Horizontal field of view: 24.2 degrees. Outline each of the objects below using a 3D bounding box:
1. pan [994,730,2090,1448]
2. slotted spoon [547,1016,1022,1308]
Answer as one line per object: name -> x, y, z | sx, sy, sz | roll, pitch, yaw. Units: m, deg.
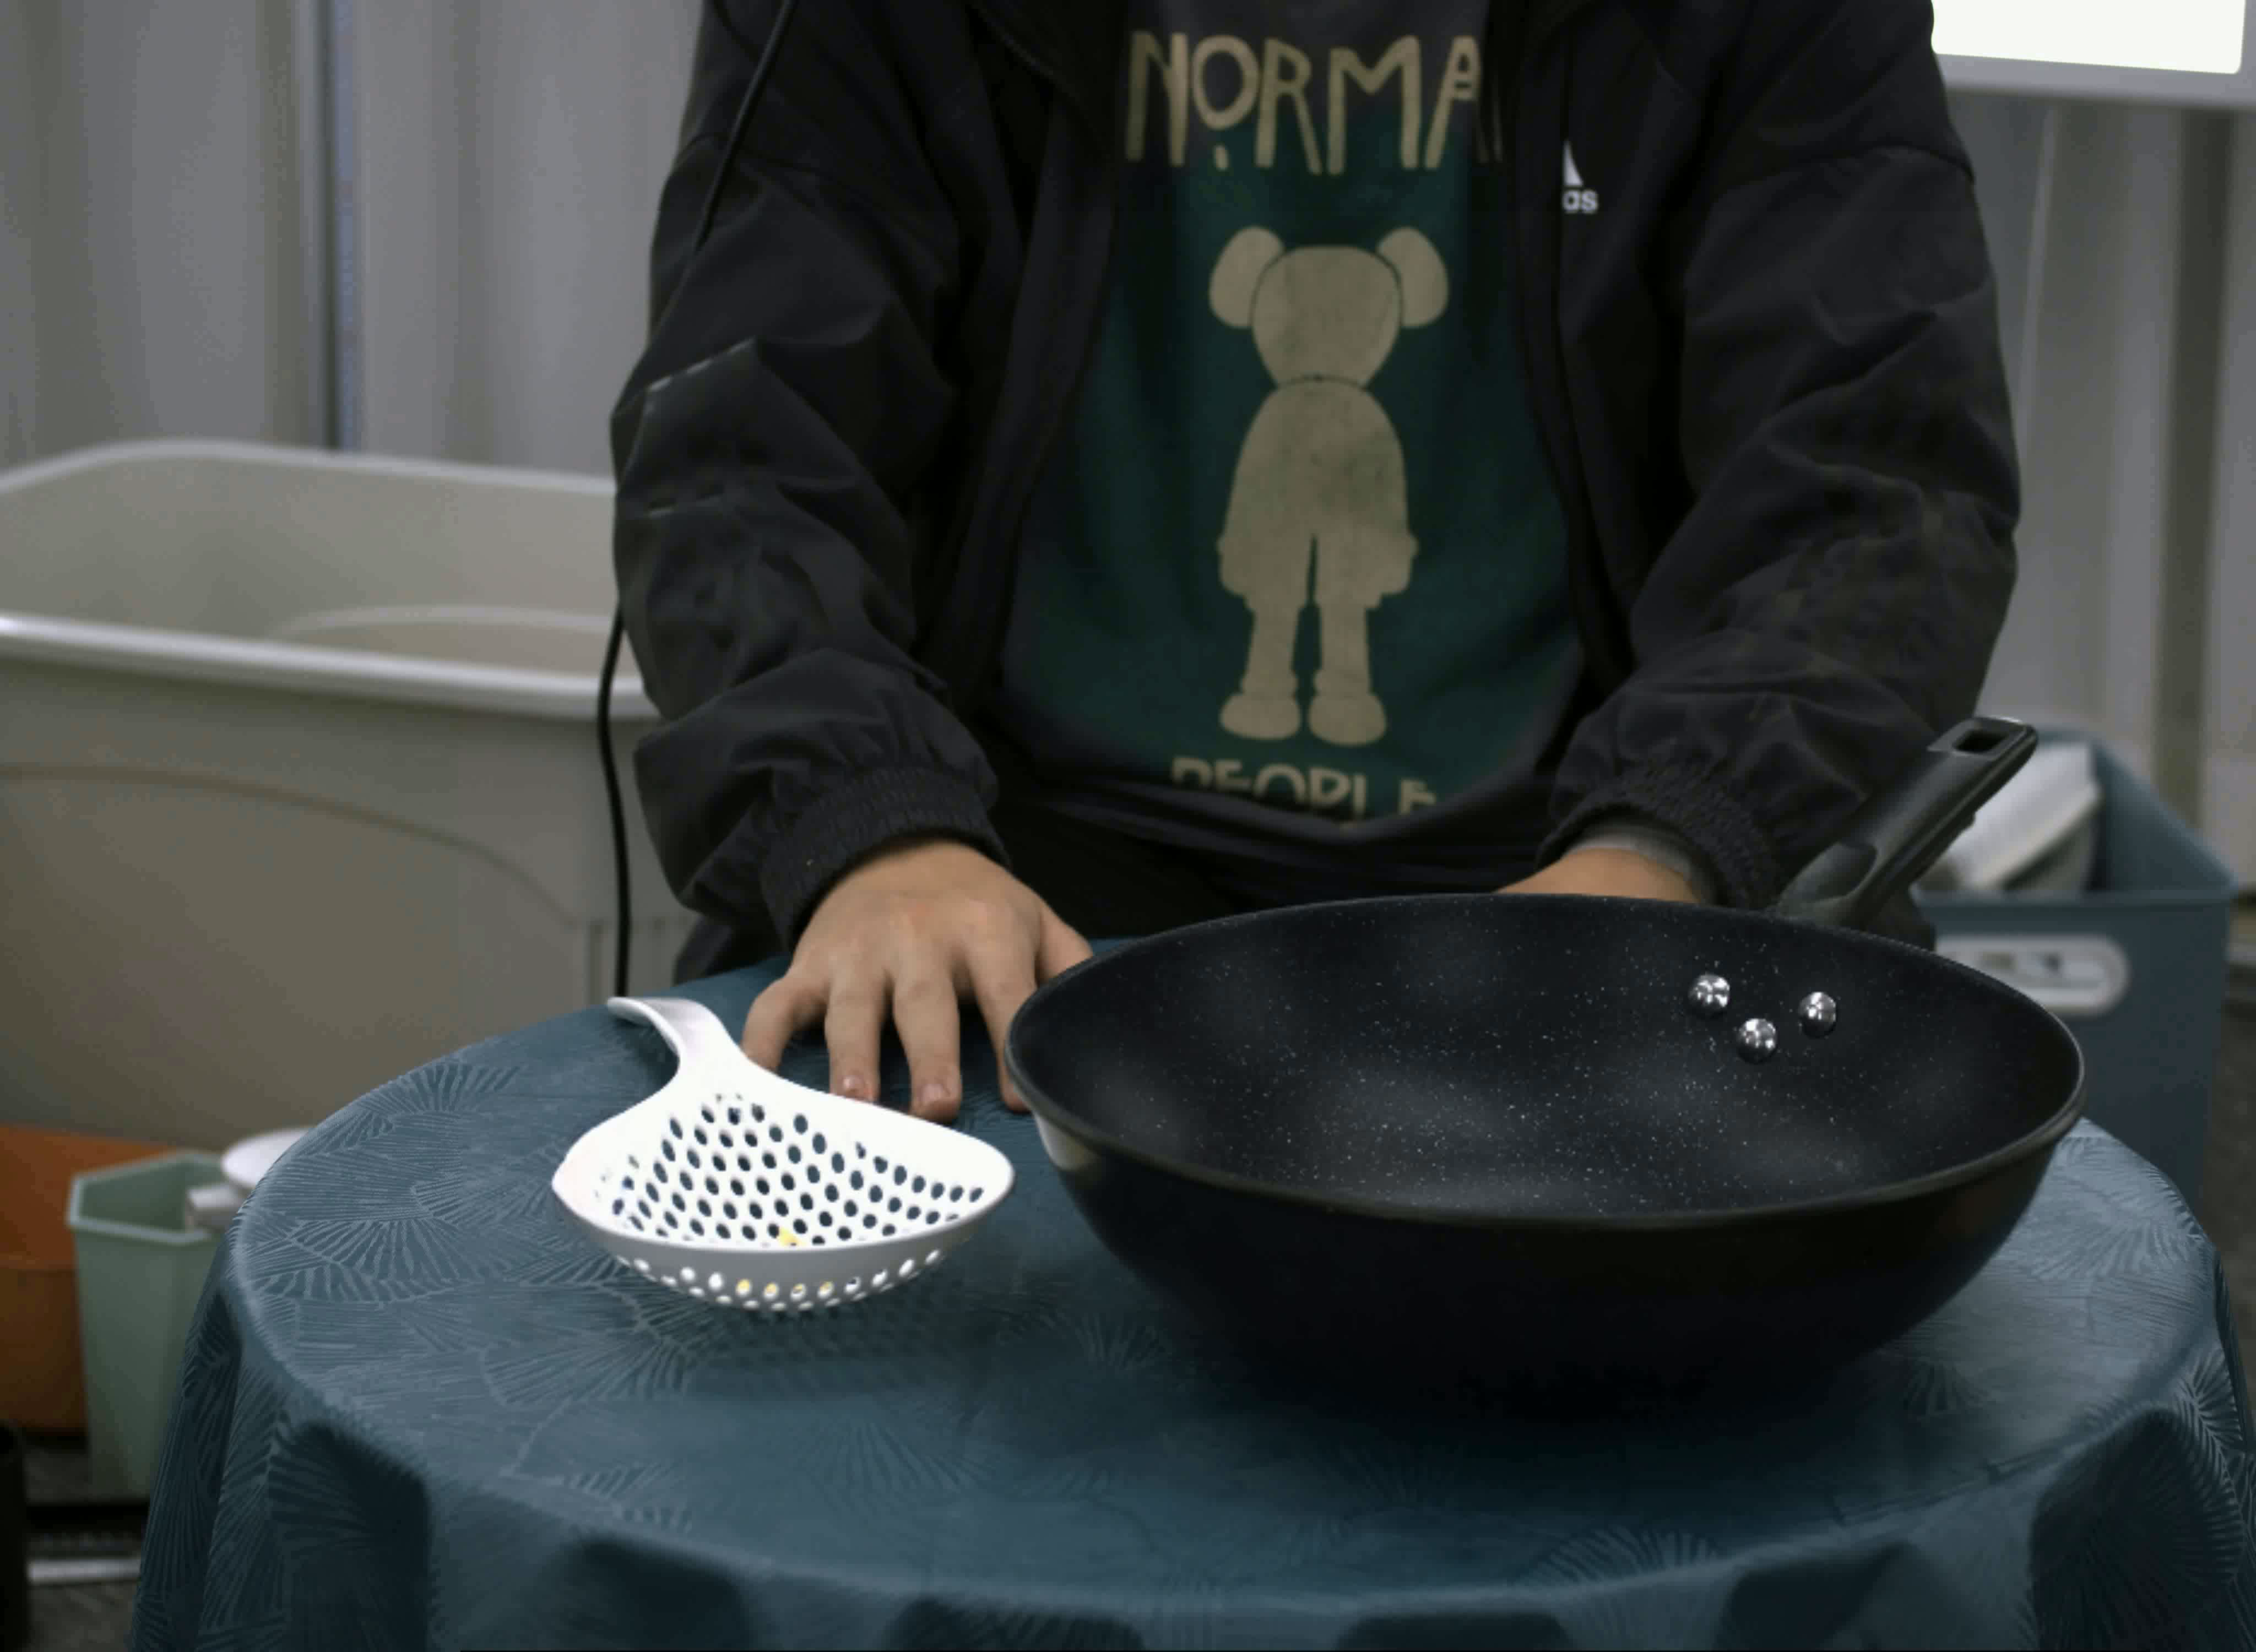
pan -> 0.161, 0.075, 1.567 | 0.306, 0.112, 0.478 | 11, 19, 30
slotted spoon -> -0.125, 0.089, 1.627 | 0.137, 0.051, 0.344 | -5, 16, -13
